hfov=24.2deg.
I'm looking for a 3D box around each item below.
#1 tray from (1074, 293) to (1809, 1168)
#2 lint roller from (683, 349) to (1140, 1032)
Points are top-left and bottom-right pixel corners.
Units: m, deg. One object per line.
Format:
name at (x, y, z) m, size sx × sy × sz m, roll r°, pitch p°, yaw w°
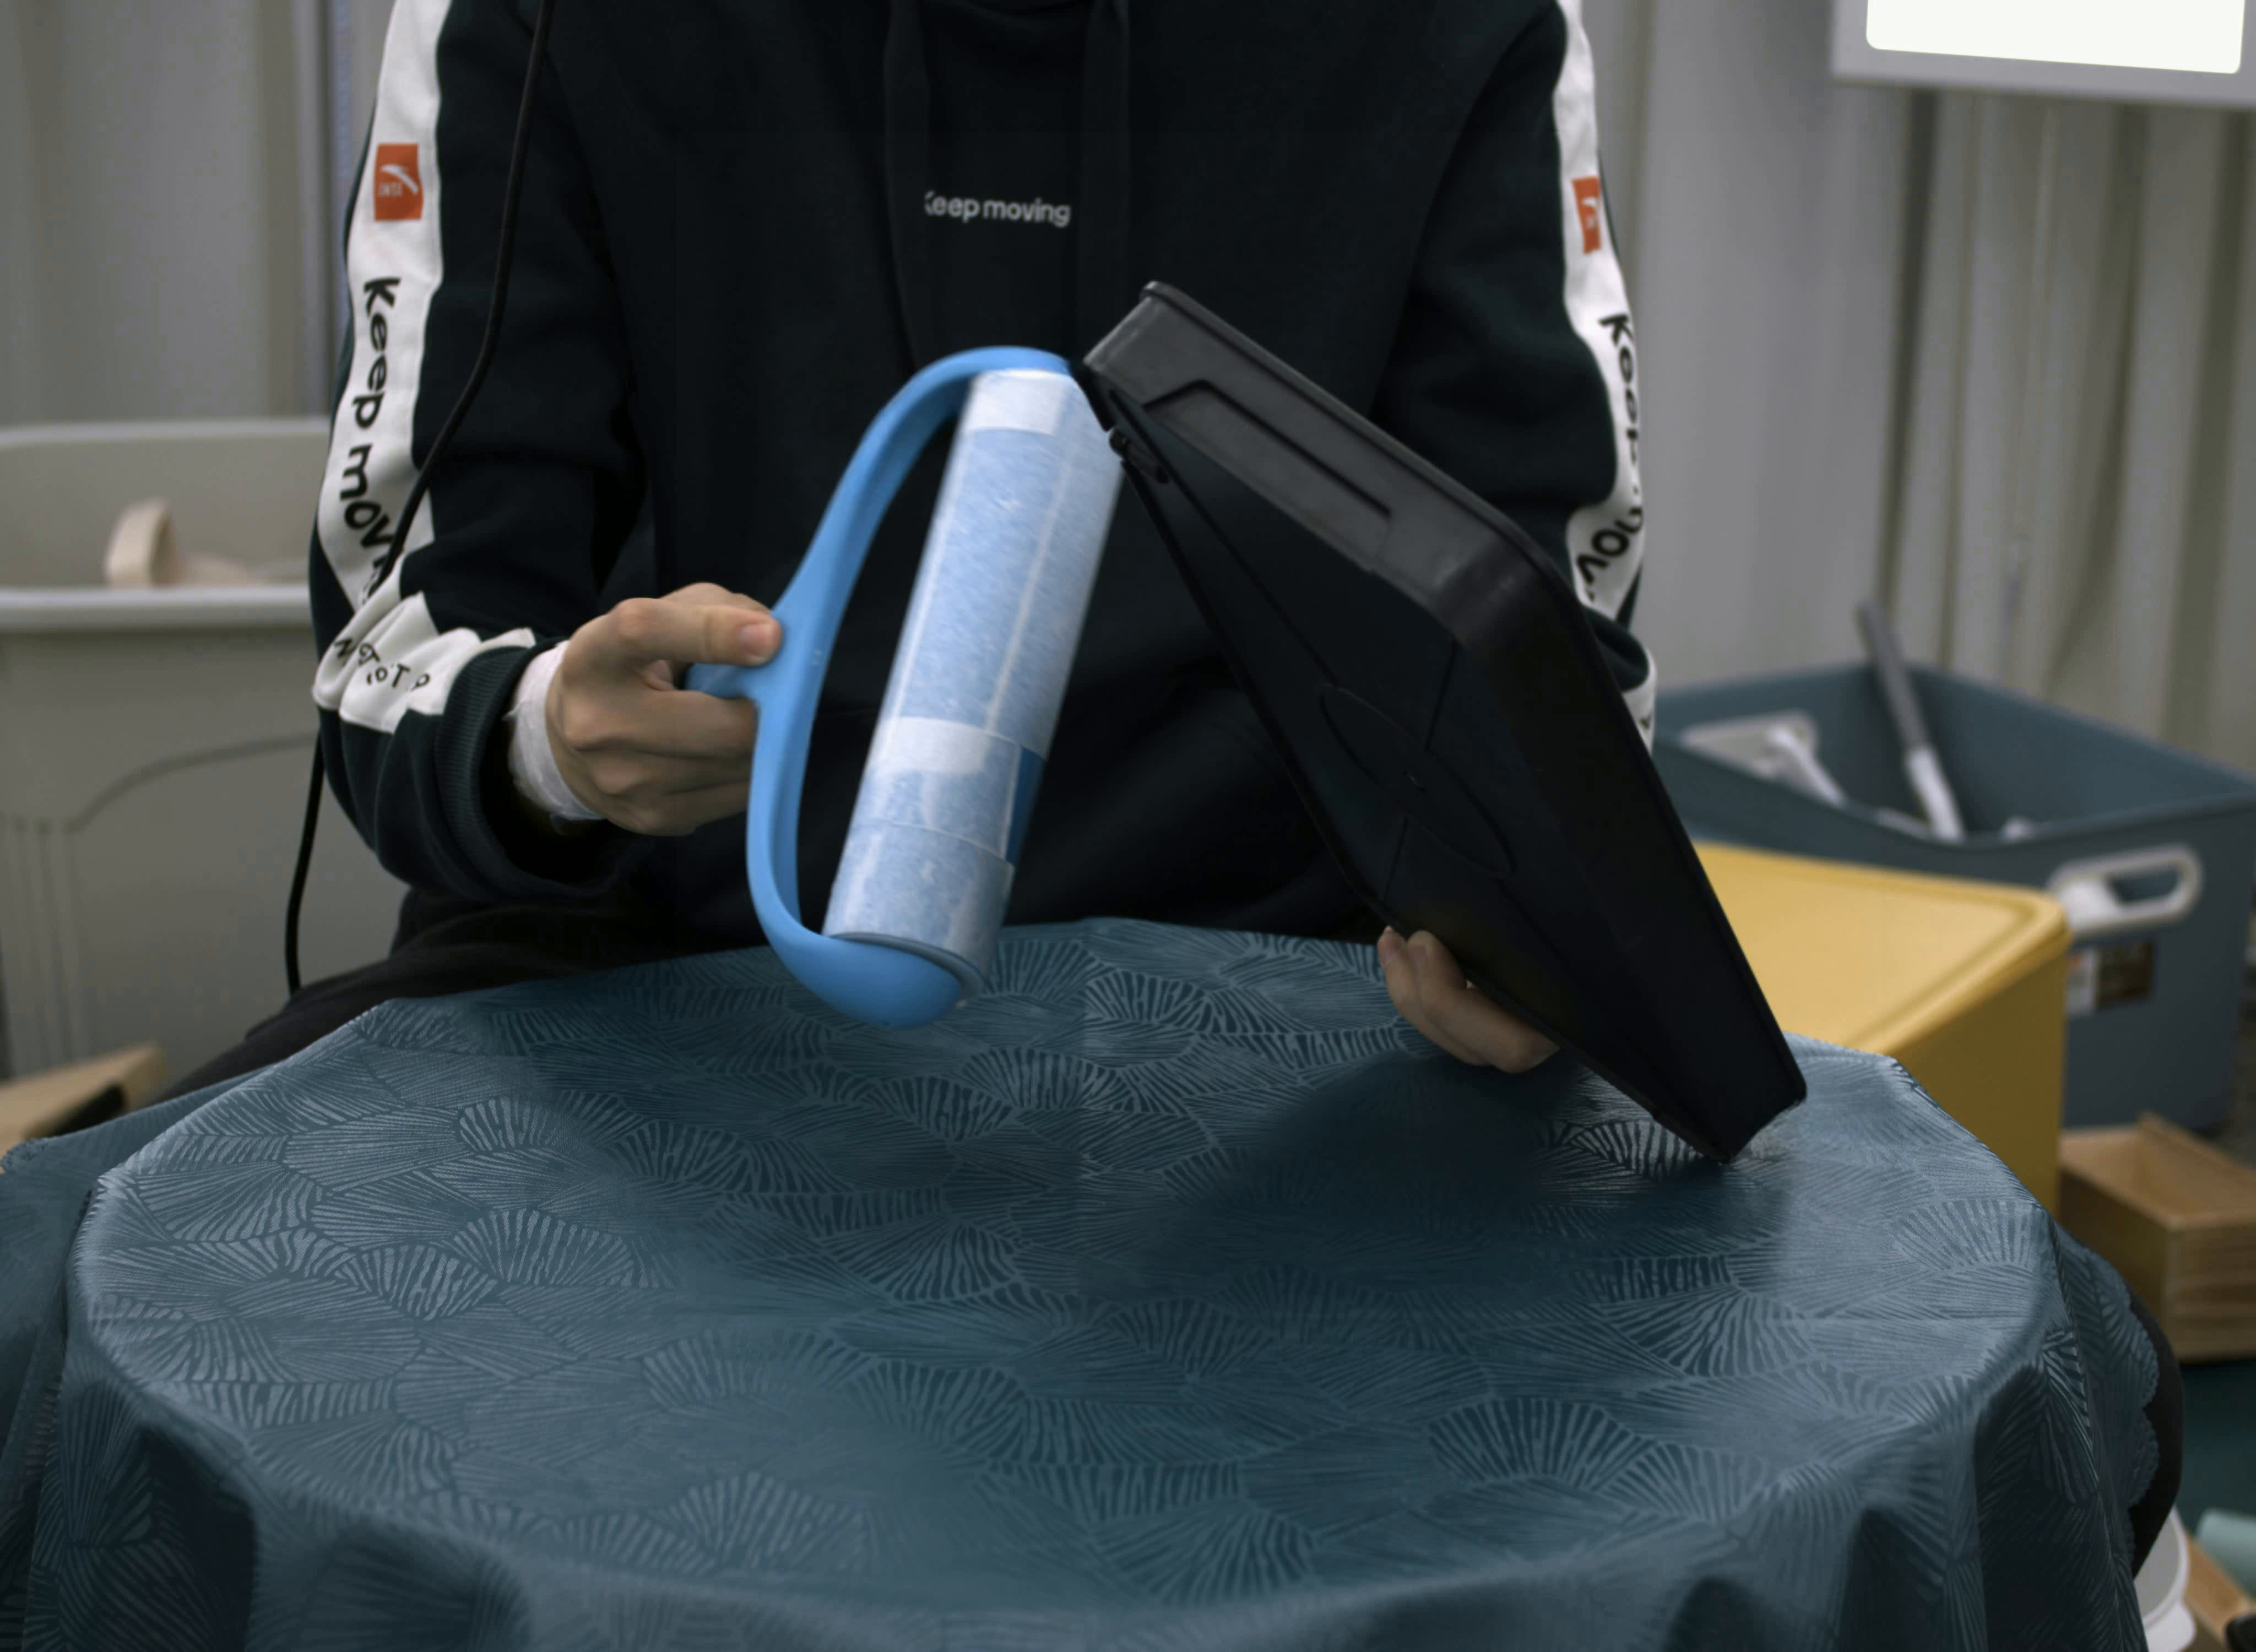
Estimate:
tray at (0.098, -0.021, 1.577) m, size 0.037 × 0.322 × 0.182 m, roll -46°, pitch 55°, yaw -10°
lint roller at (-0.090, -0.039, 1.659) m, size 0.178 × 0.228 × 0.069 m, roll -6°, pitch -27°, yaw 38°
